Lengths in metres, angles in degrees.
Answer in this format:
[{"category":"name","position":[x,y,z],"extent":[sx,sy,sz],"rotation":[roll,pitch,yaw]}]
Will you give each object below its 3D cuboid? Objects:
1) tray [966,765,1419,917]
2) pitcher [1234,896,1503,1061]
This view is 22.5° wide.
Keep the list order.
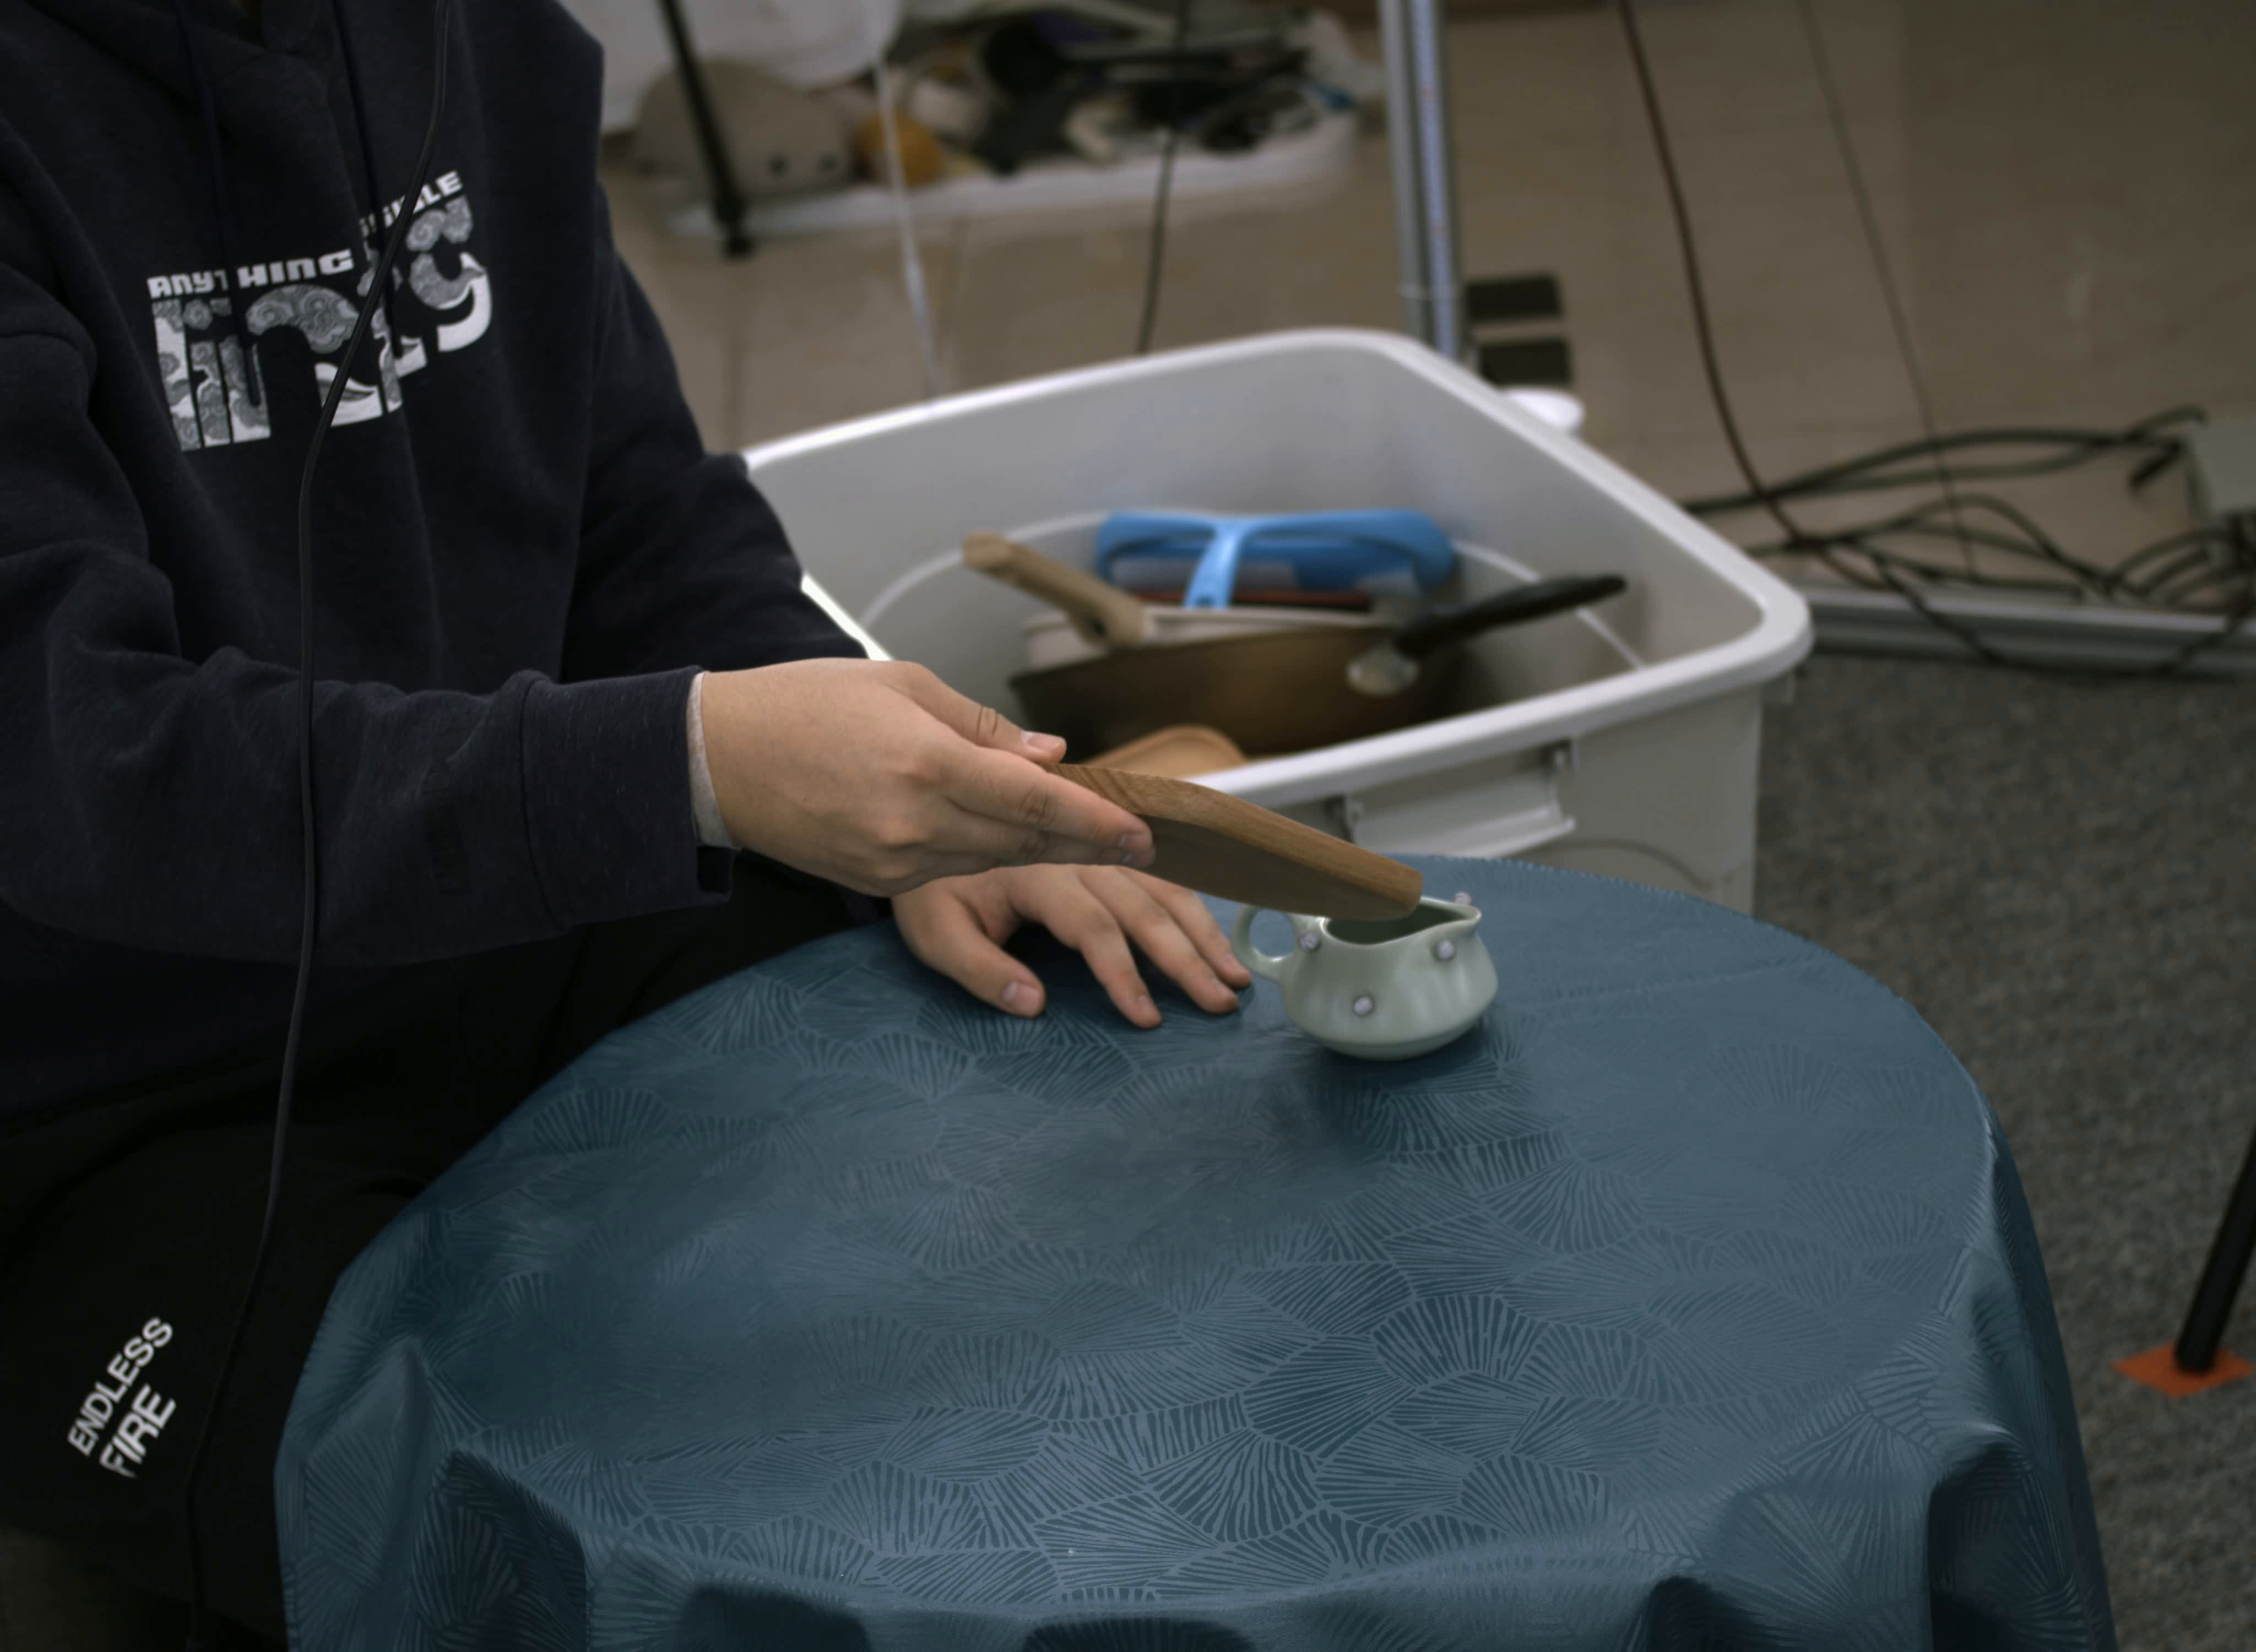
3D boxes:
[{"category":"tray","position":[0.026,0.007,2.102],"extent":[0.101,0.020,0.232],"rotation":[1,-9,32]},{"category":"pitcher","position":[0.093,0.057,2.238],"extent":[0.108,0.061,0.085],"rotation":[2,25,22]}]
